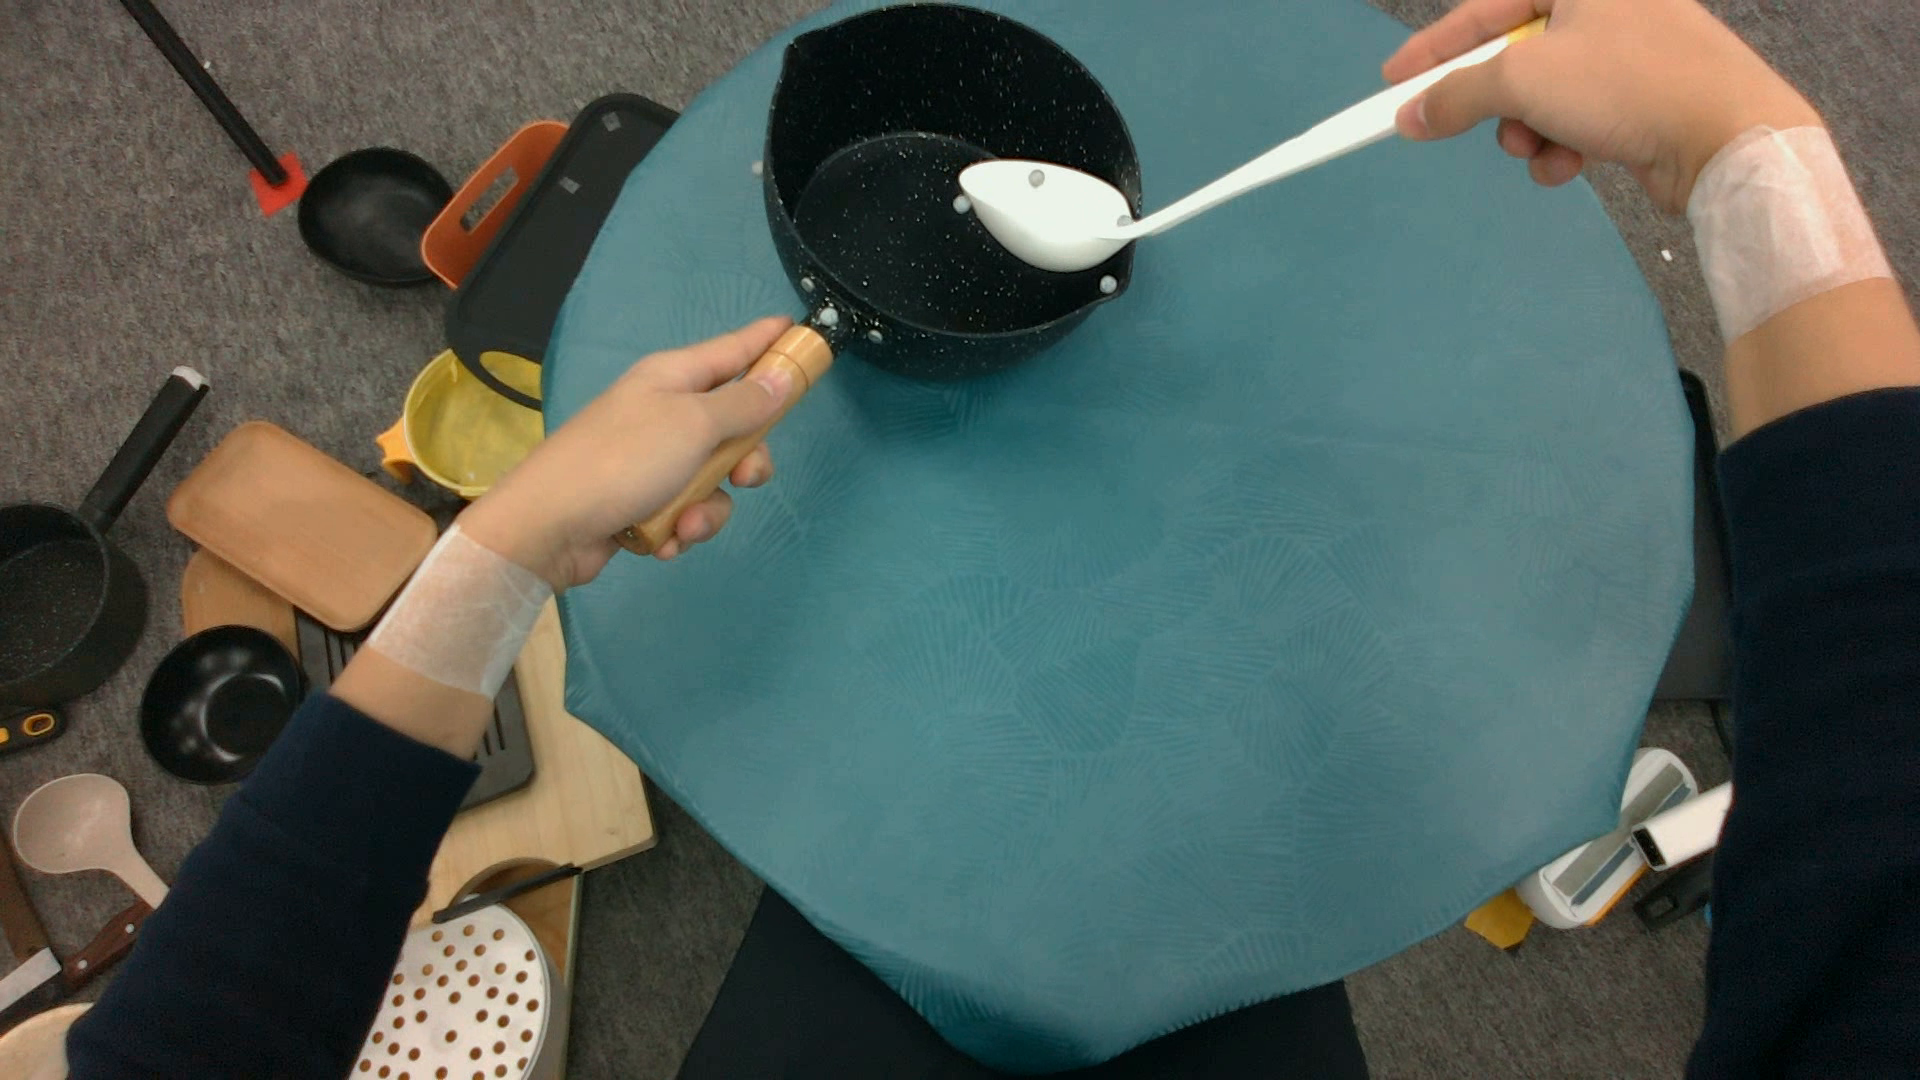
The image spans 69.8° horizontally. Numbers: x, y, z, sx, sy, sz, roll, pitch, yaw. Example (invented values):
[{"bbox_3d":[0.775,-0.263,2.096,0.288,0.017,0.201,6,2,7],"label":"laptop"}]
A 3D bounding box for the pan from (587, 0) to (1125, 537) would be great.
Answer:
[{"bbox_3d":[-0.057,-0.117,0.654,0.207,0.108,0.344,35,65,-1],"label":"pan"}]

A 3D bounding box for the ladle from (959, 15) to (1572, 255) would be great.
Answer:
[{"bbox_3d":[0.117,-0.181,0.603,0.090,0.292,0.070,-7,90,-41],"label":"ladle"}]
